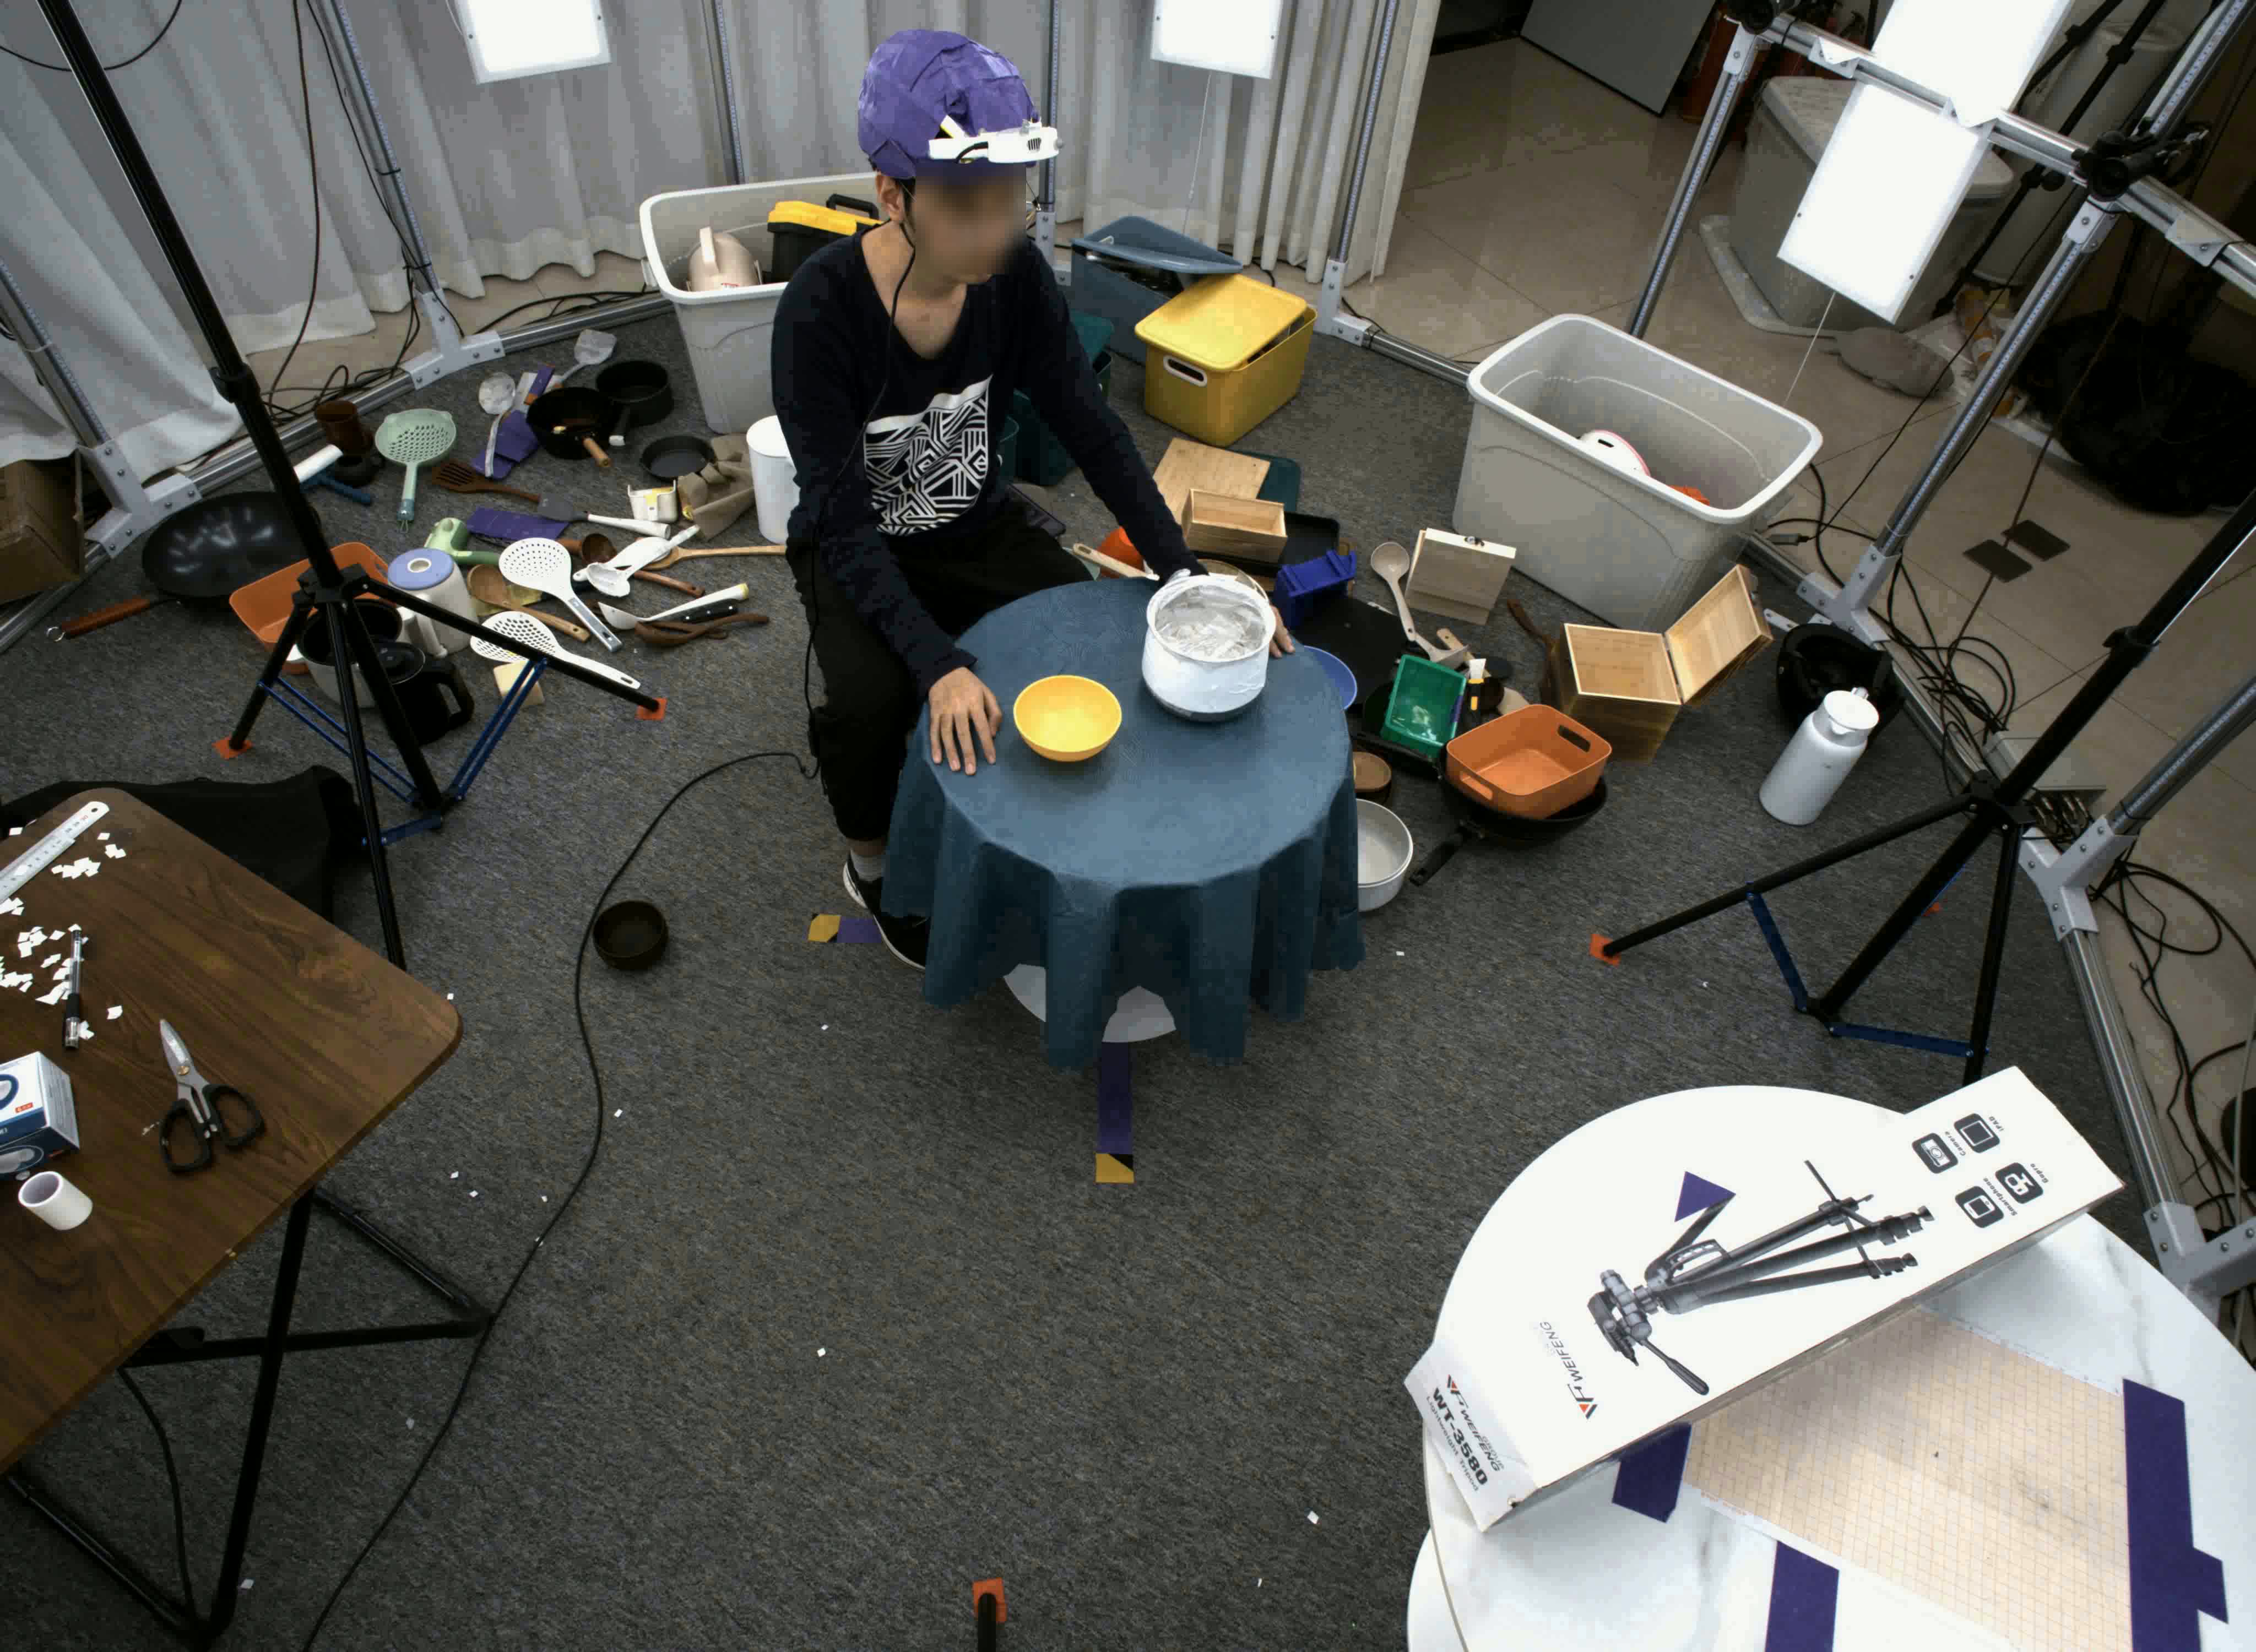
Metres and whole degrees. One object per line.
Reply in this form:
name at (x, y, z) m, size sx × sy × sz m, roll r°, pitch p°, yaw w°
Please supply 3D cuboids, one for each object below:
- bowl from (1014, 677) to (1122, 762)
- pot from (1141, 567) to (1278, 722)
bowl at (-0.081, -0.133, 1.737) m, size 0.145 × 0.058 × 0.149 m, roll 1°, pitch 49°, yaw -1°
pot at (0.100, -0.266, 1.815) m, size 0.179 × 0.133 × 0.239 m, roll -13°, pitch 52°, yaw -18°
